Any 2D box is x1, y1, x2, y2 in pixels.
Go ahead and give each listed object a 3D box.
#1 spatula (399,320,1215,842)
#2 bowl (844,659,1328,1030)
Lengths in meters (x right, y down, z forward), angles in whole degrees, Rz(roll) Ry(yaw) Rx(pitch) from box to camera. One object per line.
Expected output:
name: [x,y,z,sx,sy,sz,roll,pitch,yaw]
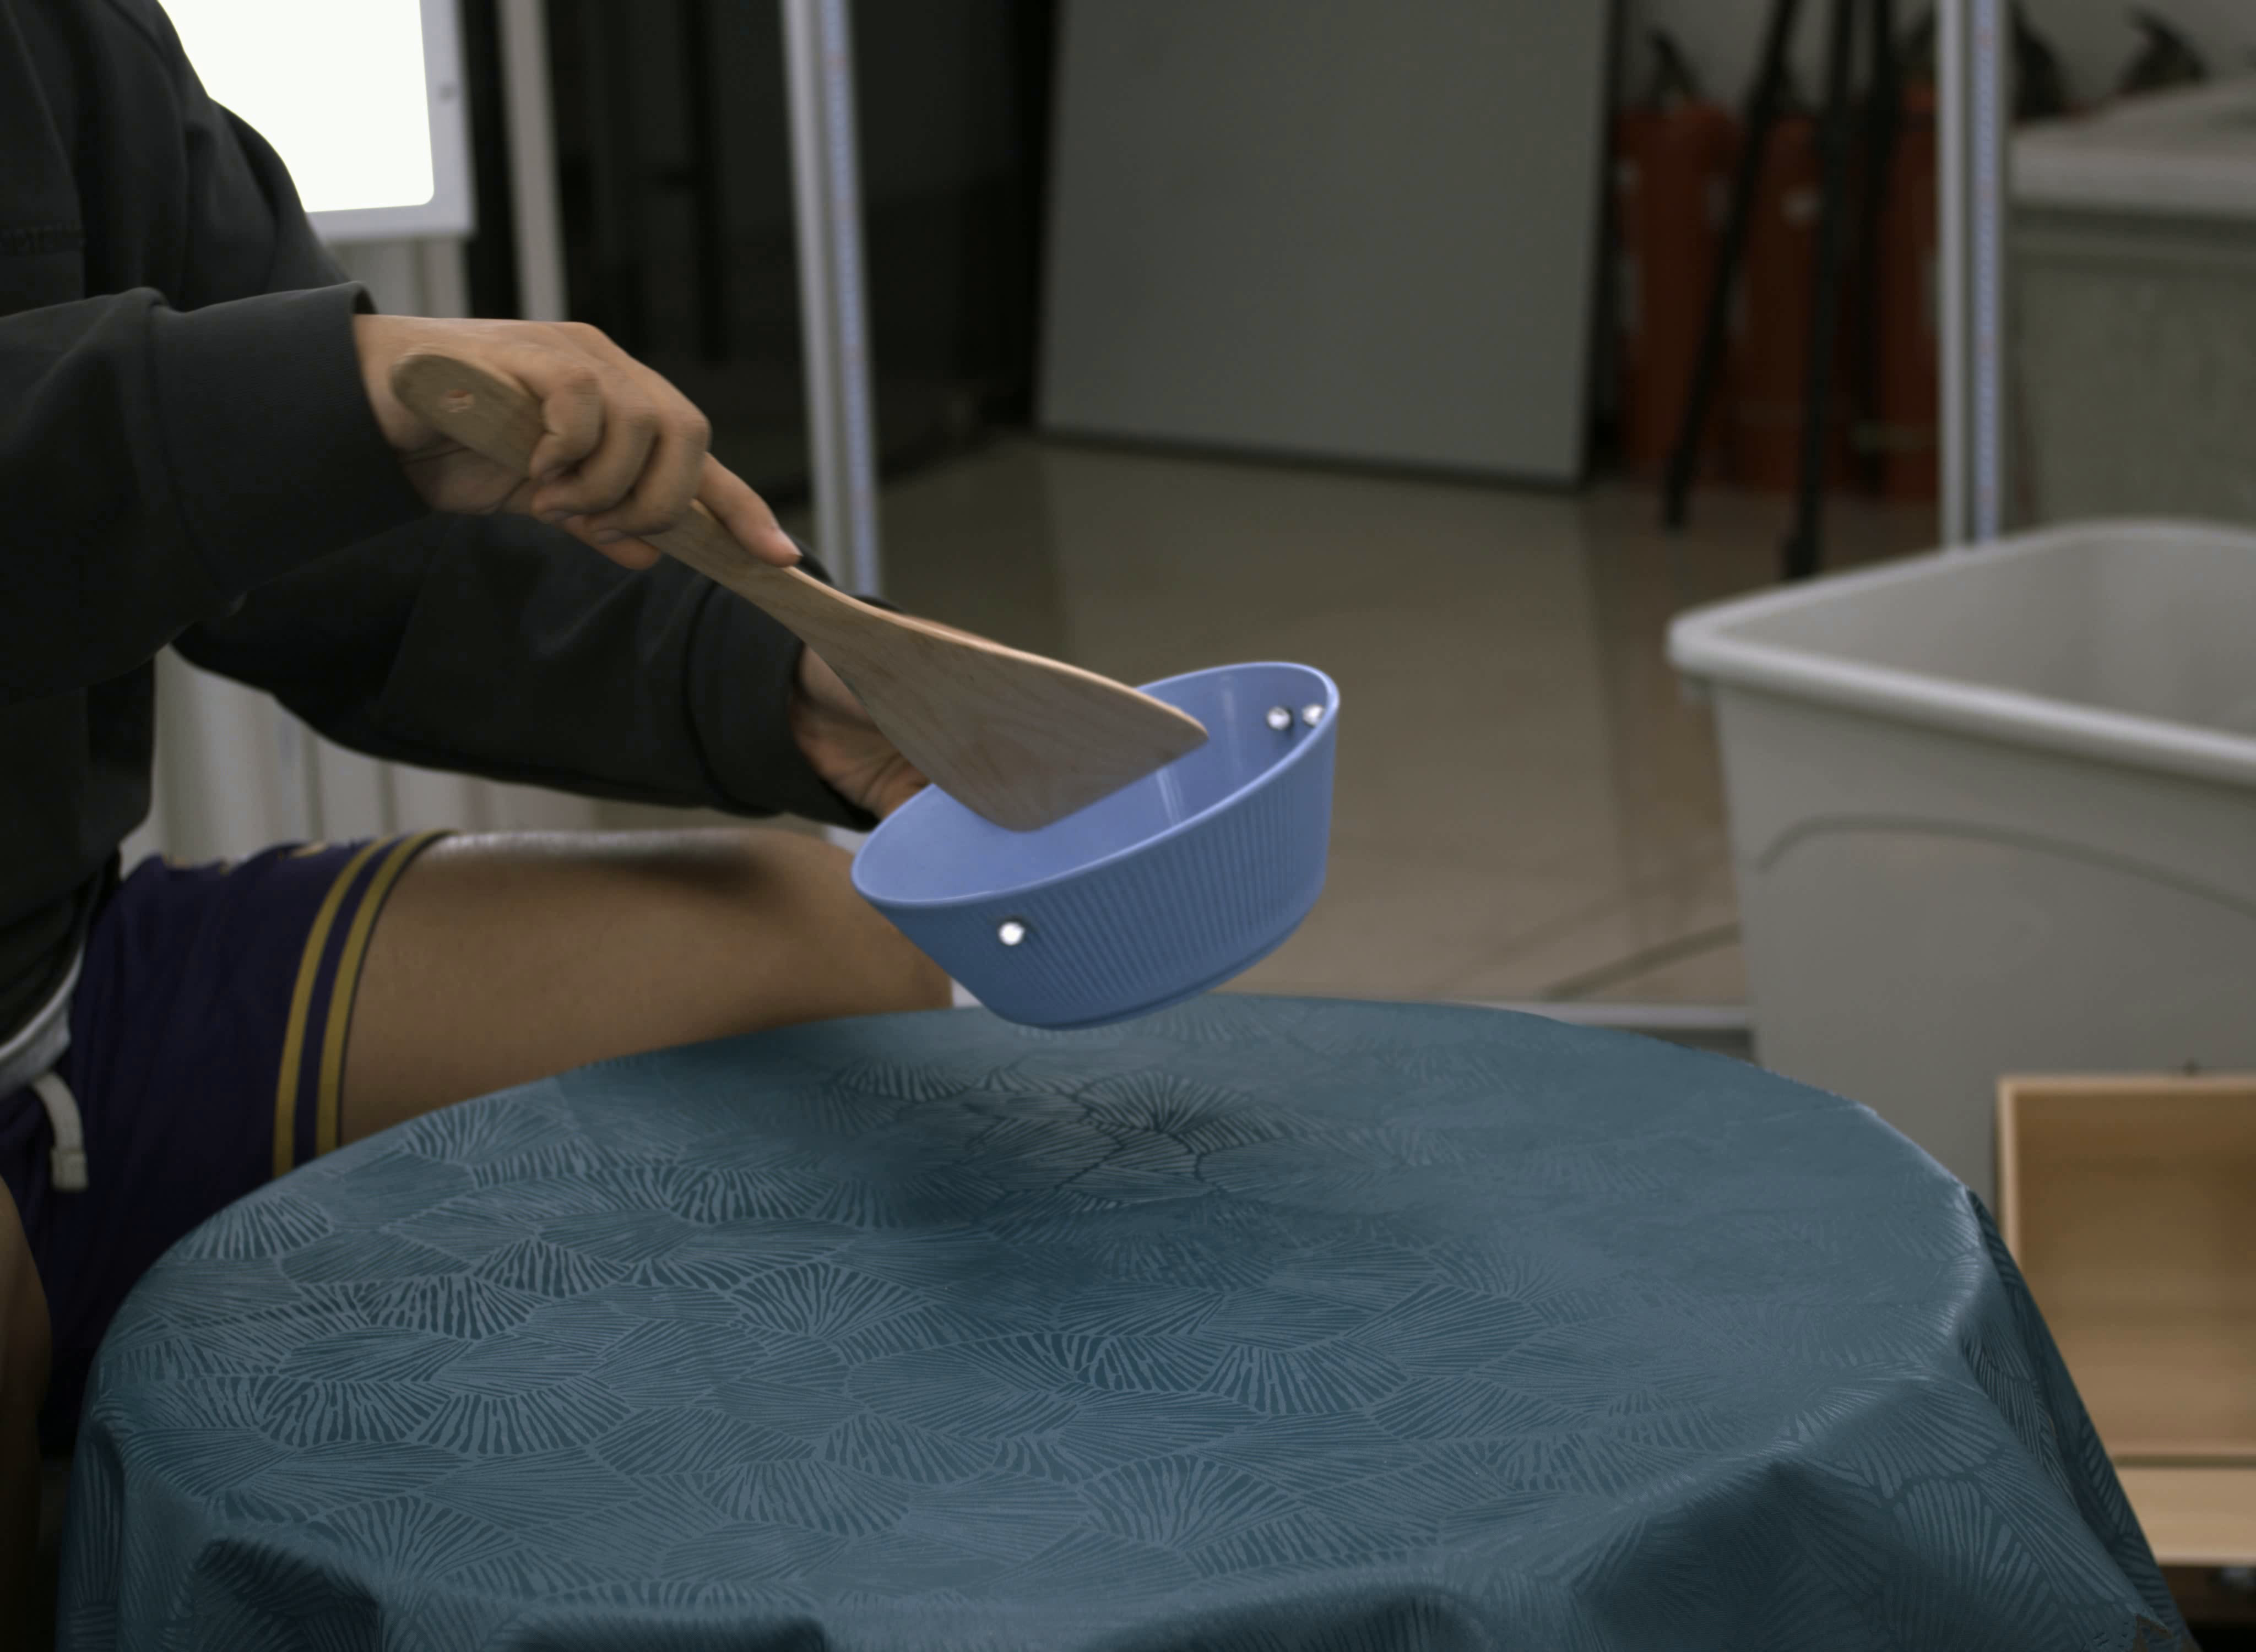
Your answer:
spatula: [-0.104,-0.076,1.699,0.080,0.322,0.017,-35,41,28]
bowl: [-0.003,0.012,1.807,0.175,0.070,0.176,-22,16,6]
